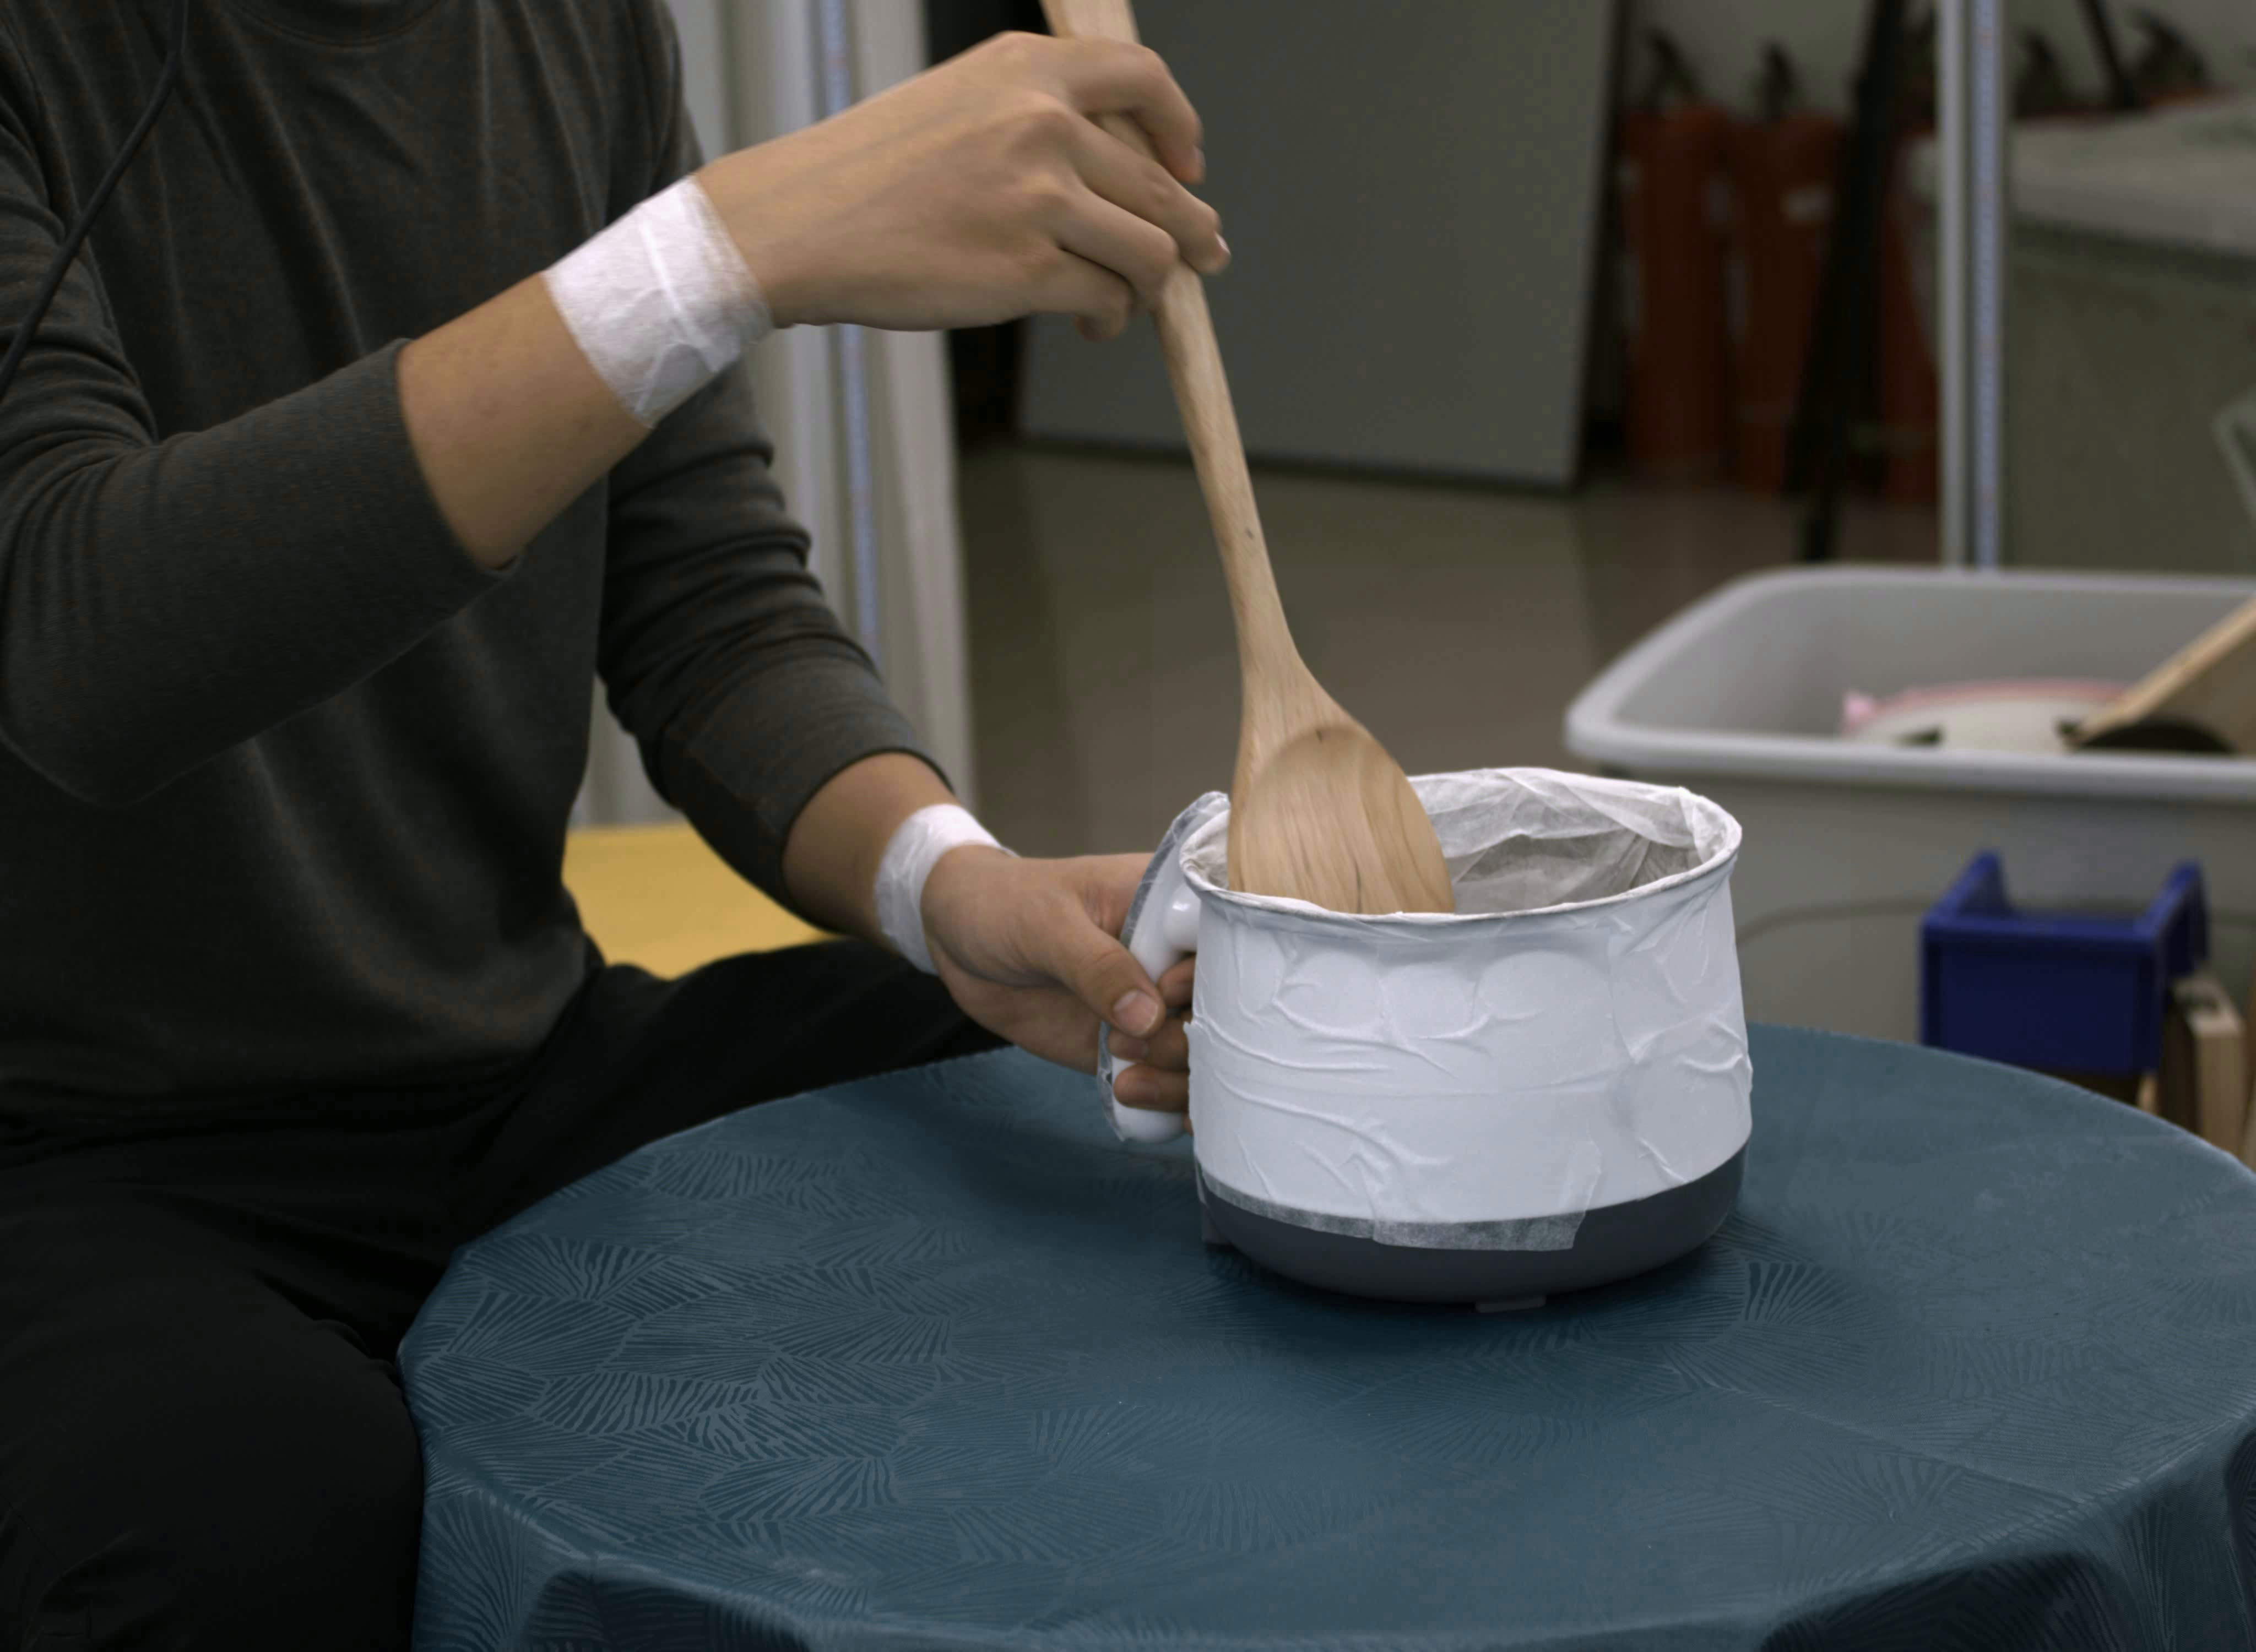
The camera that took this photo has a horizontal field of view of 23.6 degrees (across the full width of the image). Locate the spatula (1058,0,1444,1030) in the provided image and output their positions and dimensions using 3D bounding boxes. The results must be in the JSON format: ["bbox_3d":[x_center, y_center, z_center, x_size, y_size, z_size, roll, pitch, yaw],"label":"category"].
[{"bbox_3d":[0.023,-0.120,1.637,0.018,0.394,0.094,-3,18,42],"label":"spatula"}]

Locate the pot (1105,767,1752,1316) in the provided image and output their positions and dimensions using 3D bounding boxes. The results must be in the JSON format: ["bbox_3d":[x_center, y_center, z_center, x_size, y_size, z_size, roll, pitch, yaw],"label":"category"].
[{"bbox_3d":[0.085,0.063,1.702,0.235,0.138,0.175,6,17,39],"label":"pot"}]
